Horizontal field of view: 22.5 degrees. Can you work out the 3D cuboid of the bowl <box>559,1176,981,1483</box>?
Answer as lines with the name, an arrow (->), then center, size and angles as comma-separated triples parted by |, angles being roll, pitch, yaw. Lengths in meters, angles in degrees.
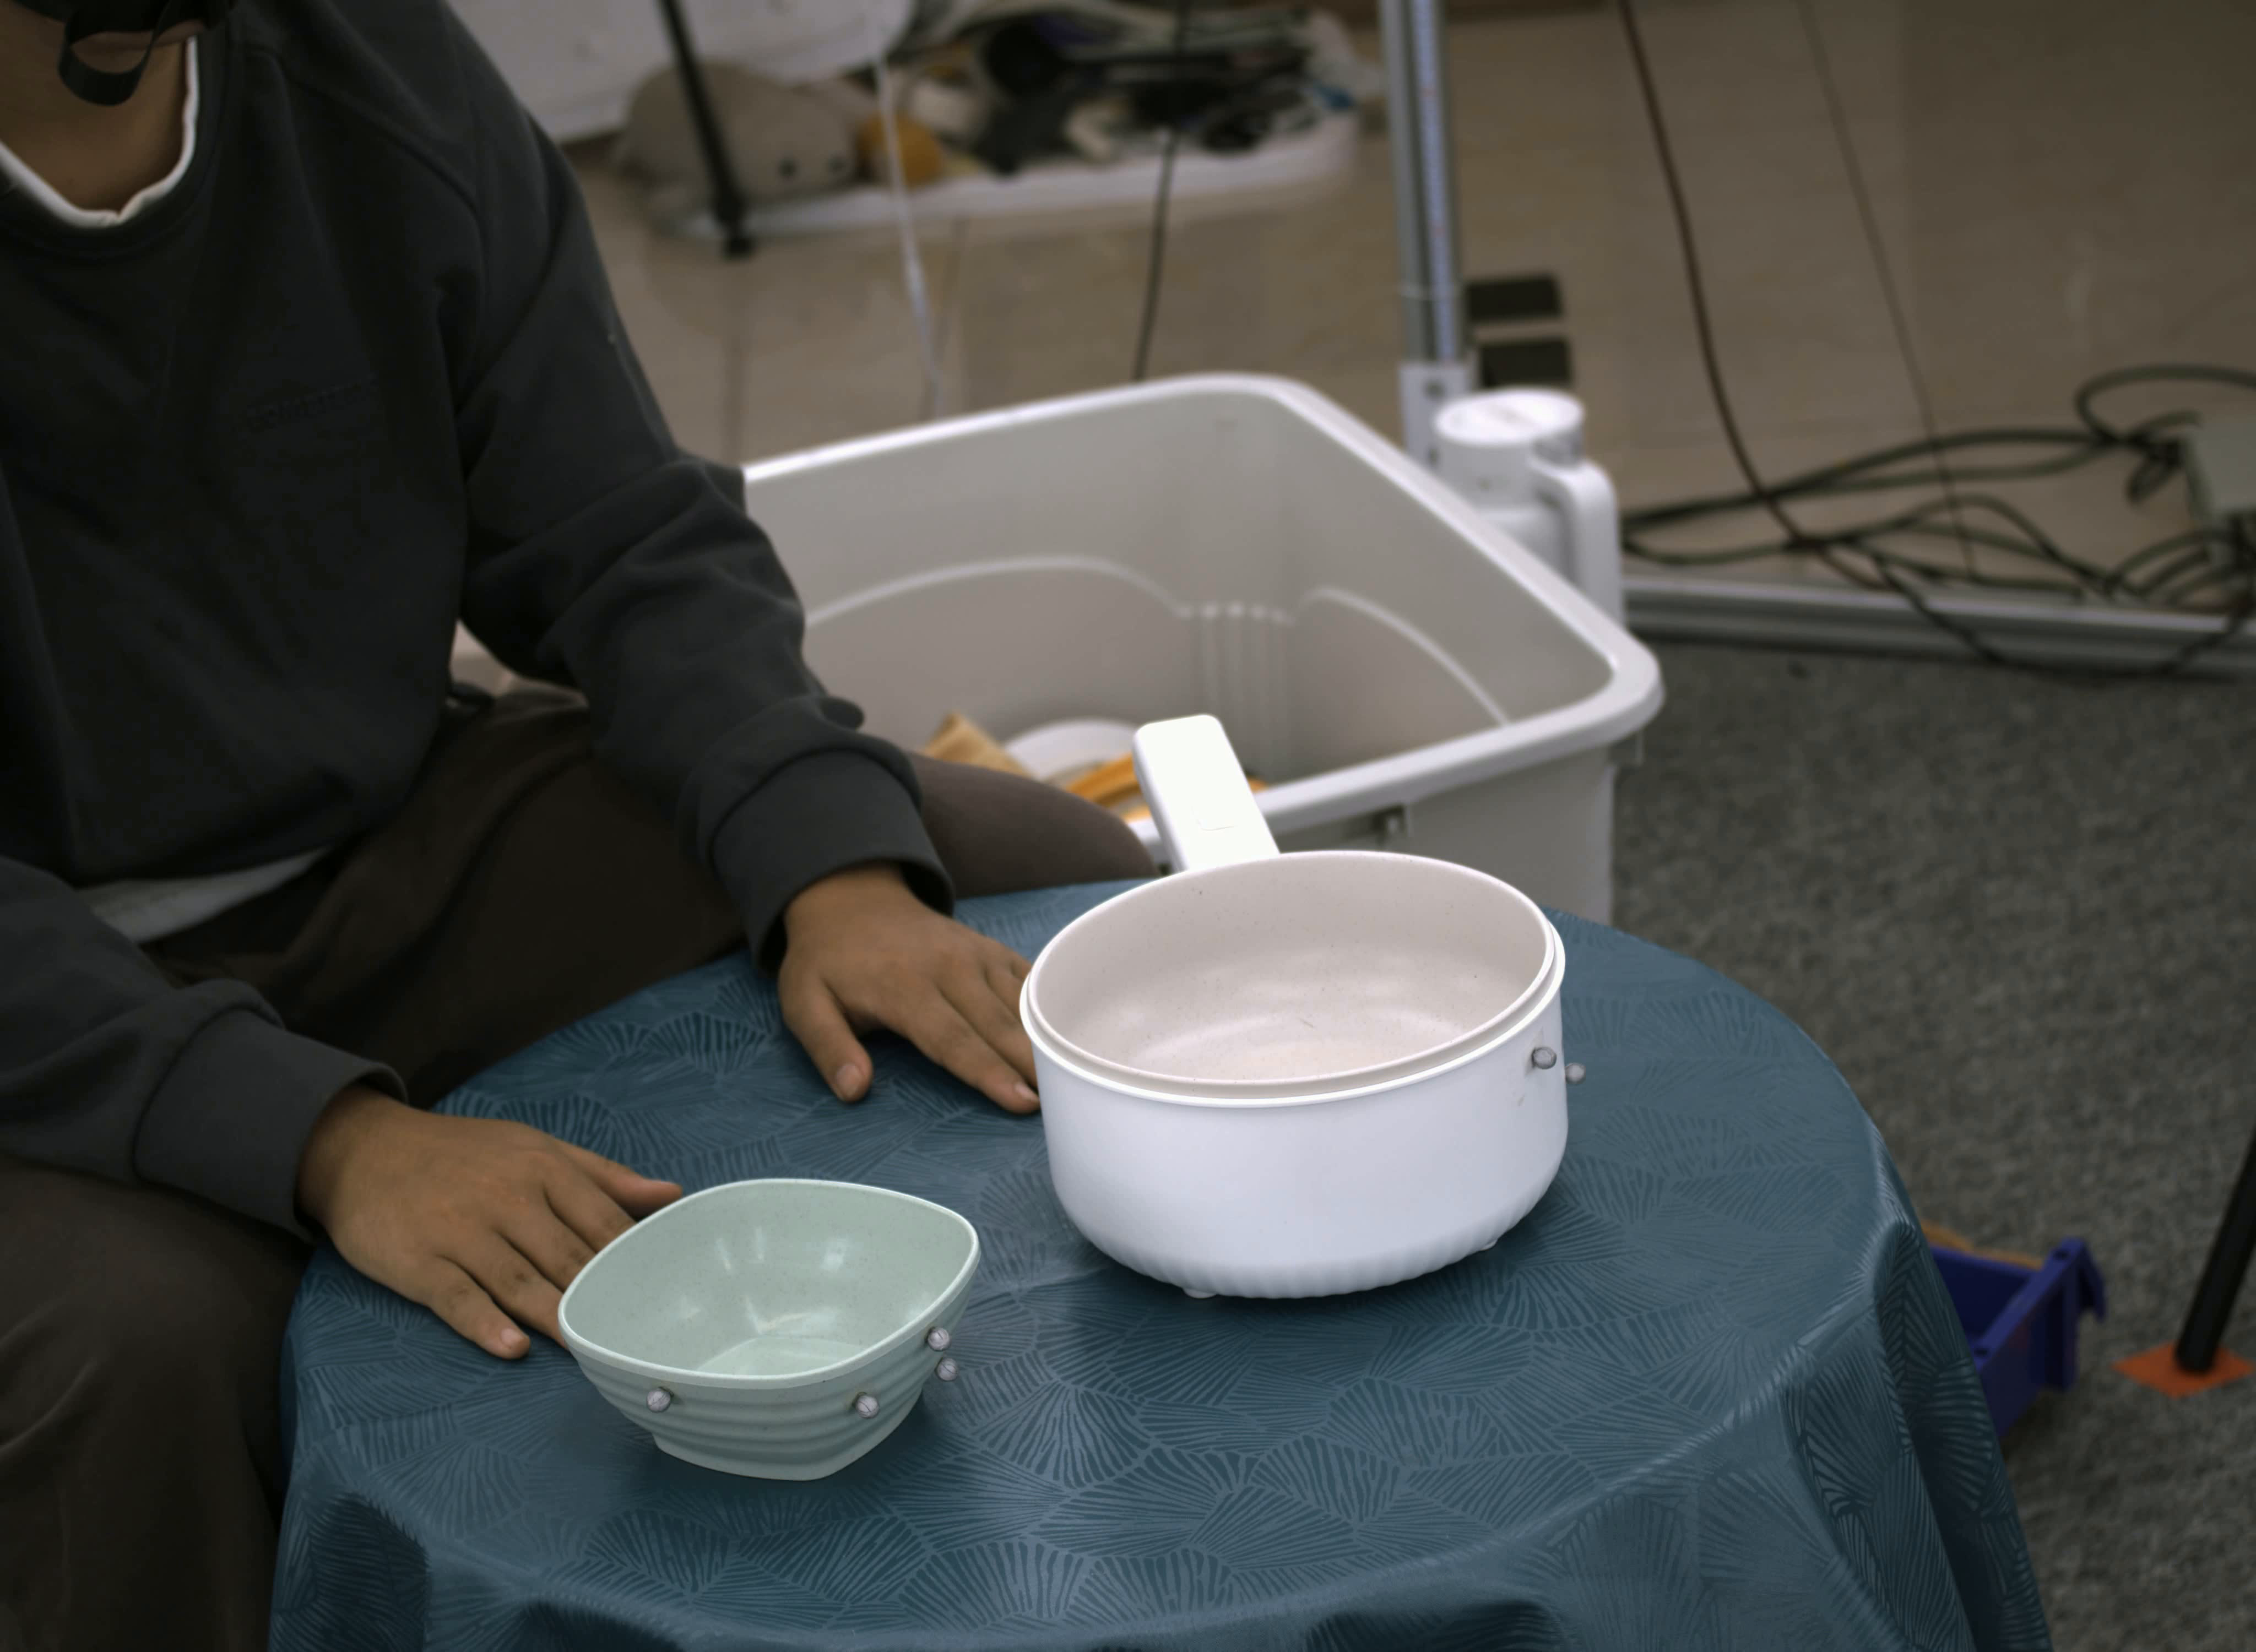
bowl -> -0.124, 0.184, 2.013 | 0.151, 0.059, 0.149 | -4, 26, 2

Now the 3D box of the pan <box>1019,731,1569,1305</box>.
pan -> 0.052, 0.071, 2.174 | 0.201, 0.103, 0.350 | -11, 23, -6
